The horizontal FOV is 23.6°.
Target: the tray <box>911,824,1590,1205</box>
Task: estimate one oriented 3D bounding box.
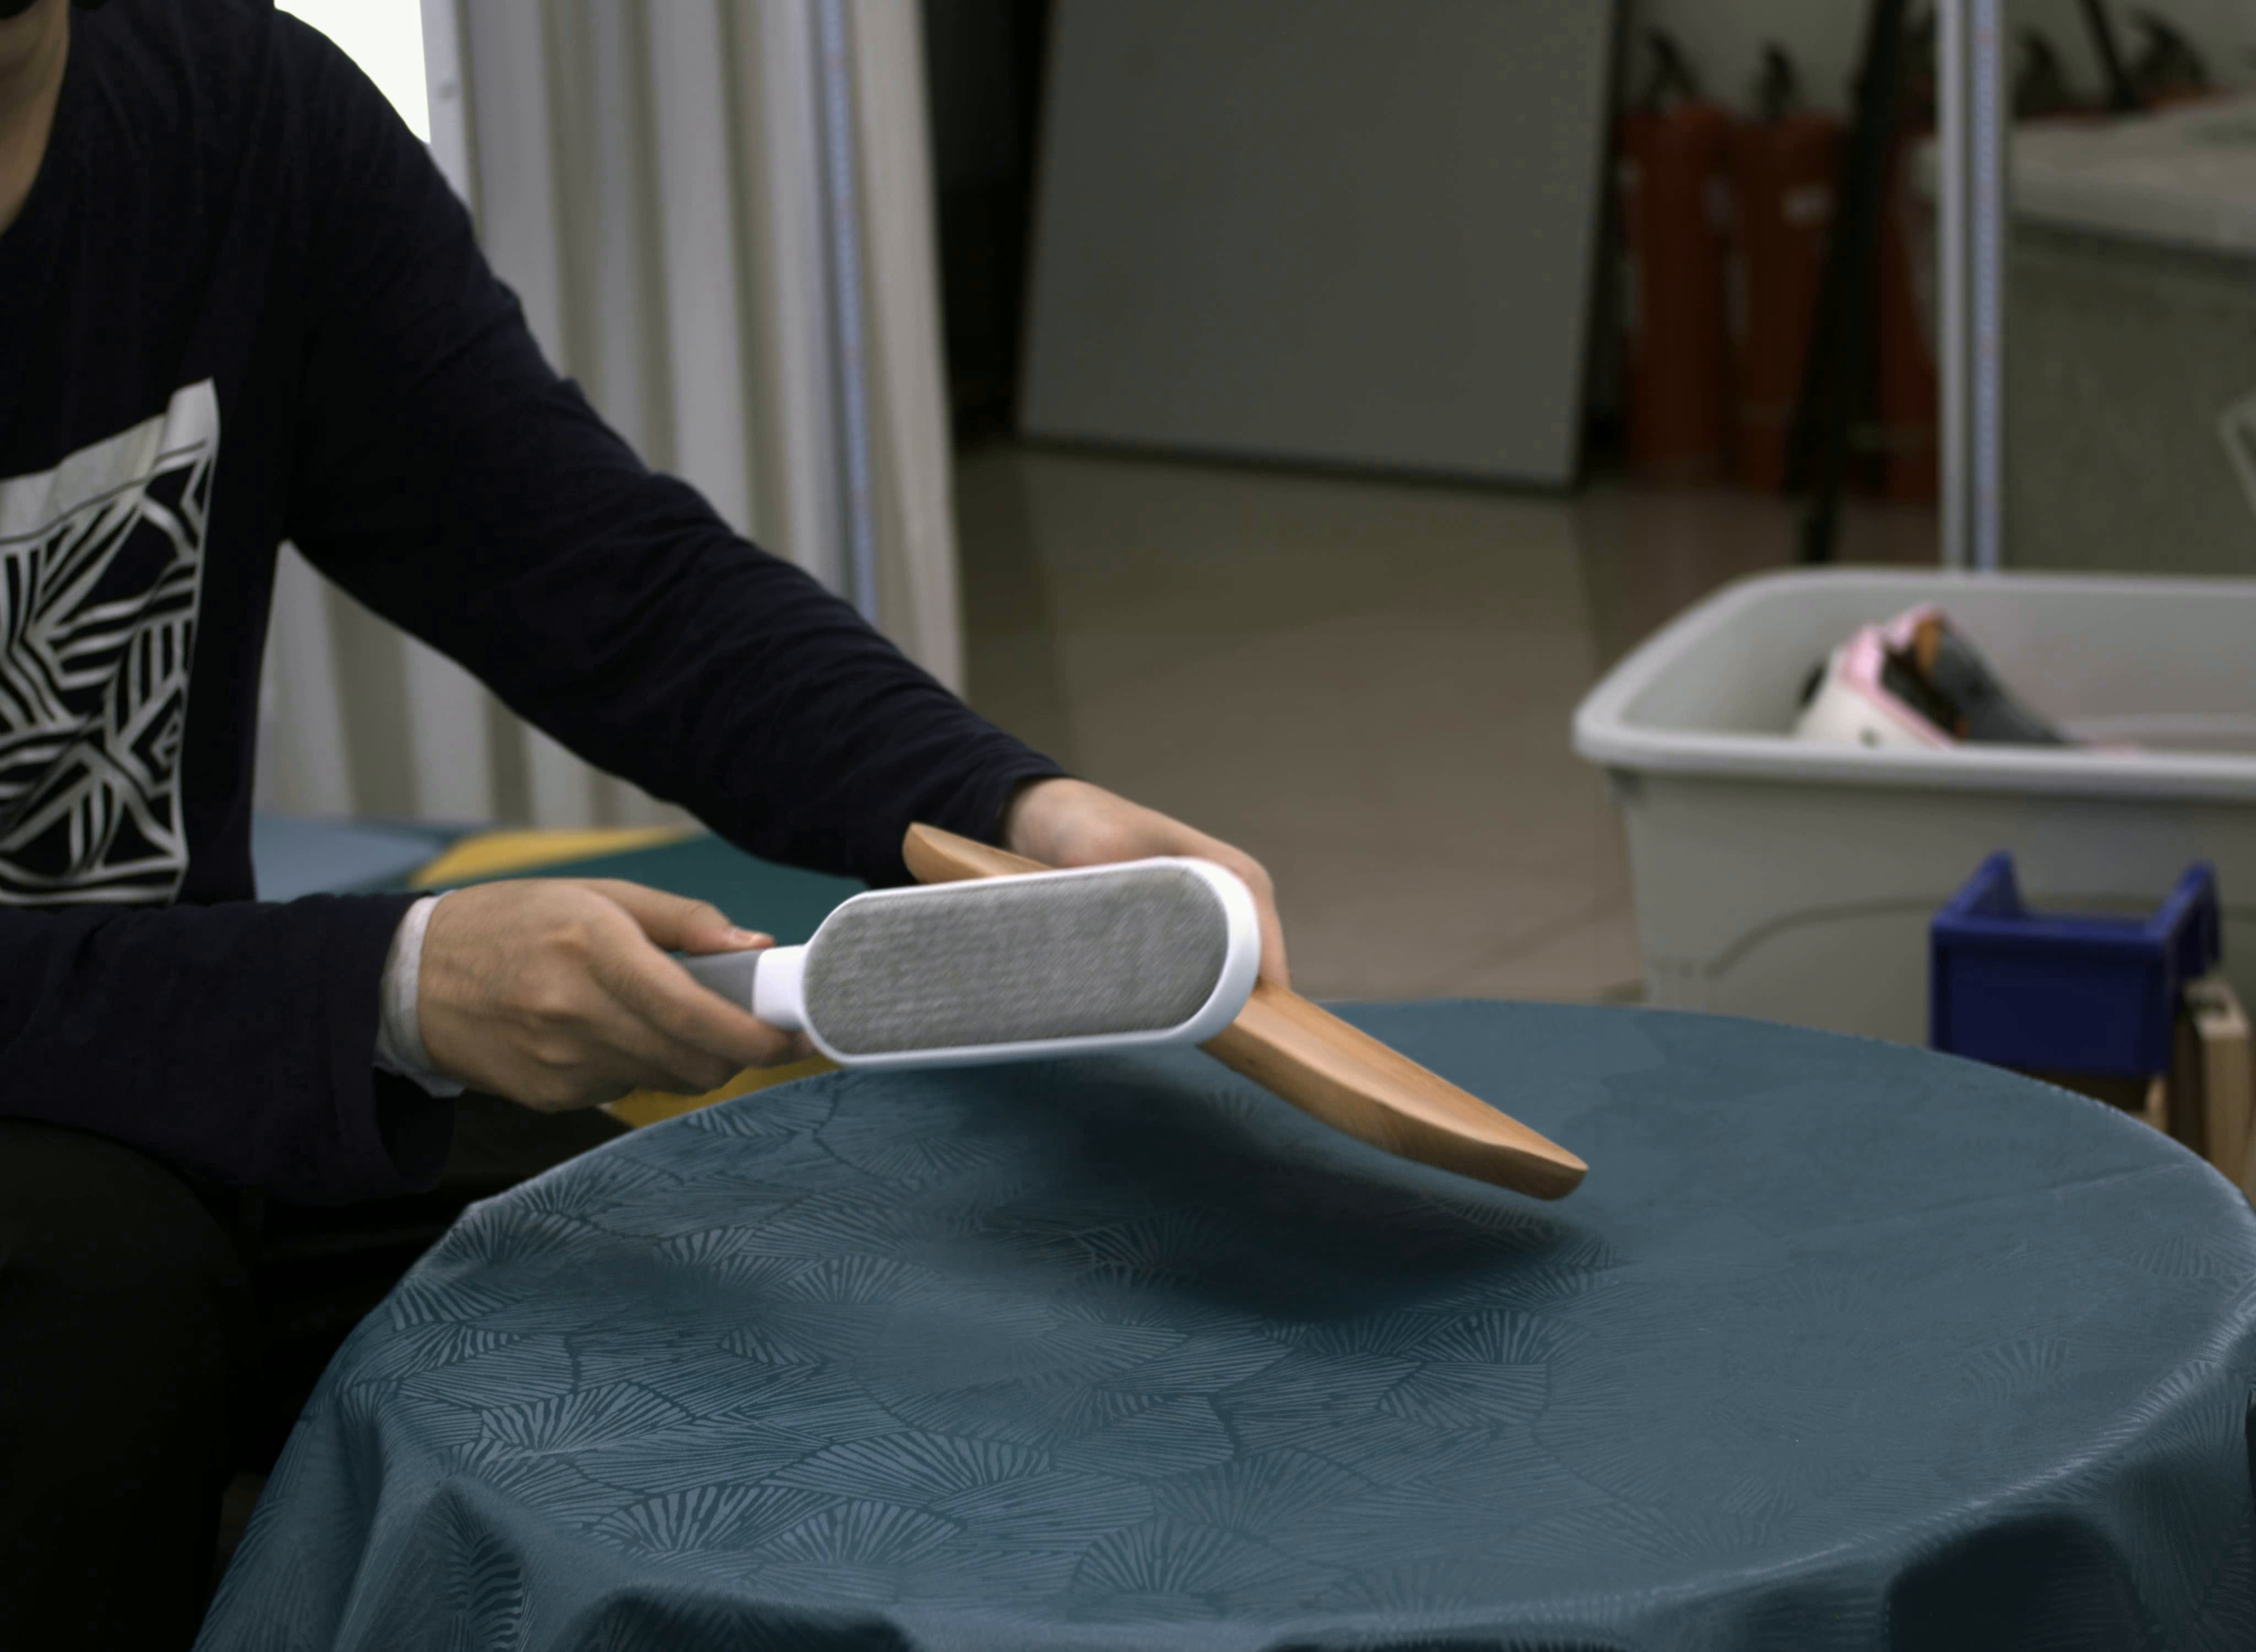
[{"bbox_3d":[0.036,0.060,1.745,0.128,0.023,0.253,22,5,-44],"label":"tray"}]

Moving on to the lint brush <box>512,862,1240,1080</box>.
[{"bbox_3d":[-0.084,0.048,1.670,0.311,0.061,0.020,-7,-10,42],"label":"lint brush"}]
